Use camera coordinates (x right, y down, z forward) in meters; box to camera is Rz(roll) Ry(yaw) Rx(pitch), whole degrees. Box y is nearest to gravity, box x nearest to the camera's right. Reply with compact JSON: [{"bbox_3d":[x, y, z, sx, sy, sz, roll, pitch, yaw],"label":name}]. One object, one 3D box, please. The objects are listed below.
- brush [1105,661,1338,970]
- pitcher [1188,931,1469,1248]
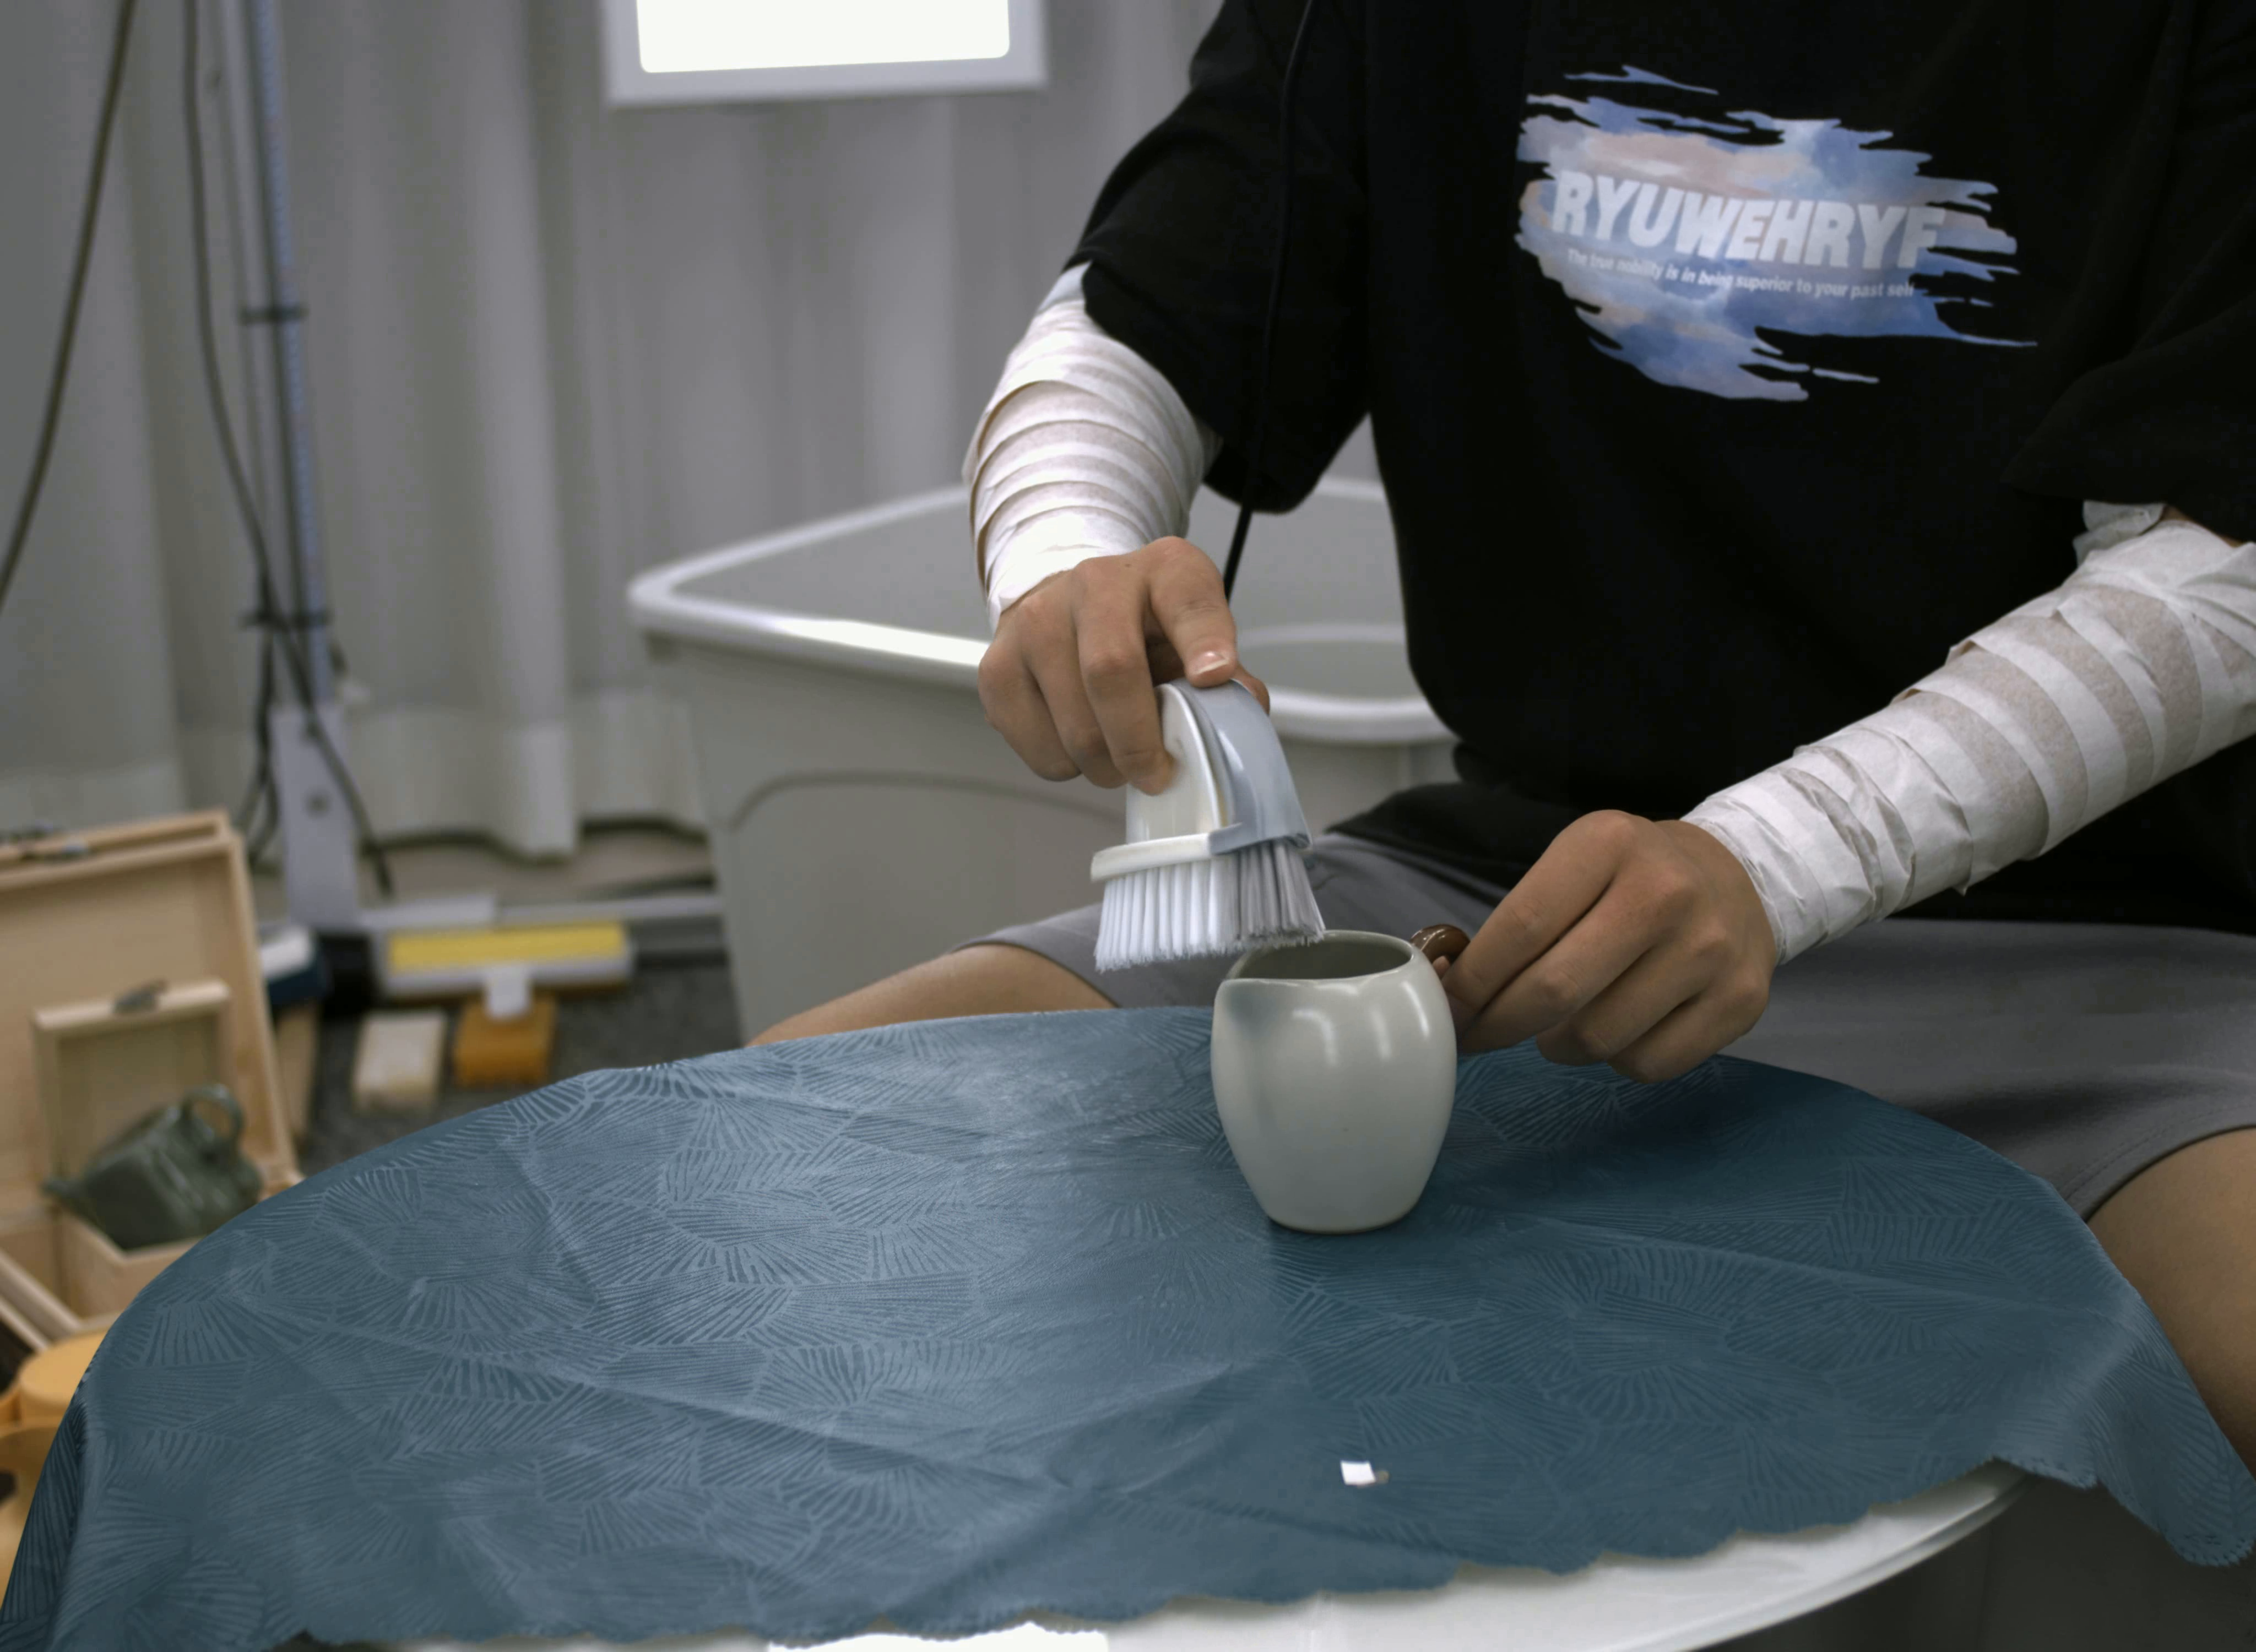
[{"bbox_3d":[0.030,-0.006,1.713,0.061,0.094,0.175,-11,0,-10],"label":"brush"},{"bbox_3d":[0.062,0.078,1.672,0.119,0.087,0.076,-17,23,-40],"label":"pitcher"}]
